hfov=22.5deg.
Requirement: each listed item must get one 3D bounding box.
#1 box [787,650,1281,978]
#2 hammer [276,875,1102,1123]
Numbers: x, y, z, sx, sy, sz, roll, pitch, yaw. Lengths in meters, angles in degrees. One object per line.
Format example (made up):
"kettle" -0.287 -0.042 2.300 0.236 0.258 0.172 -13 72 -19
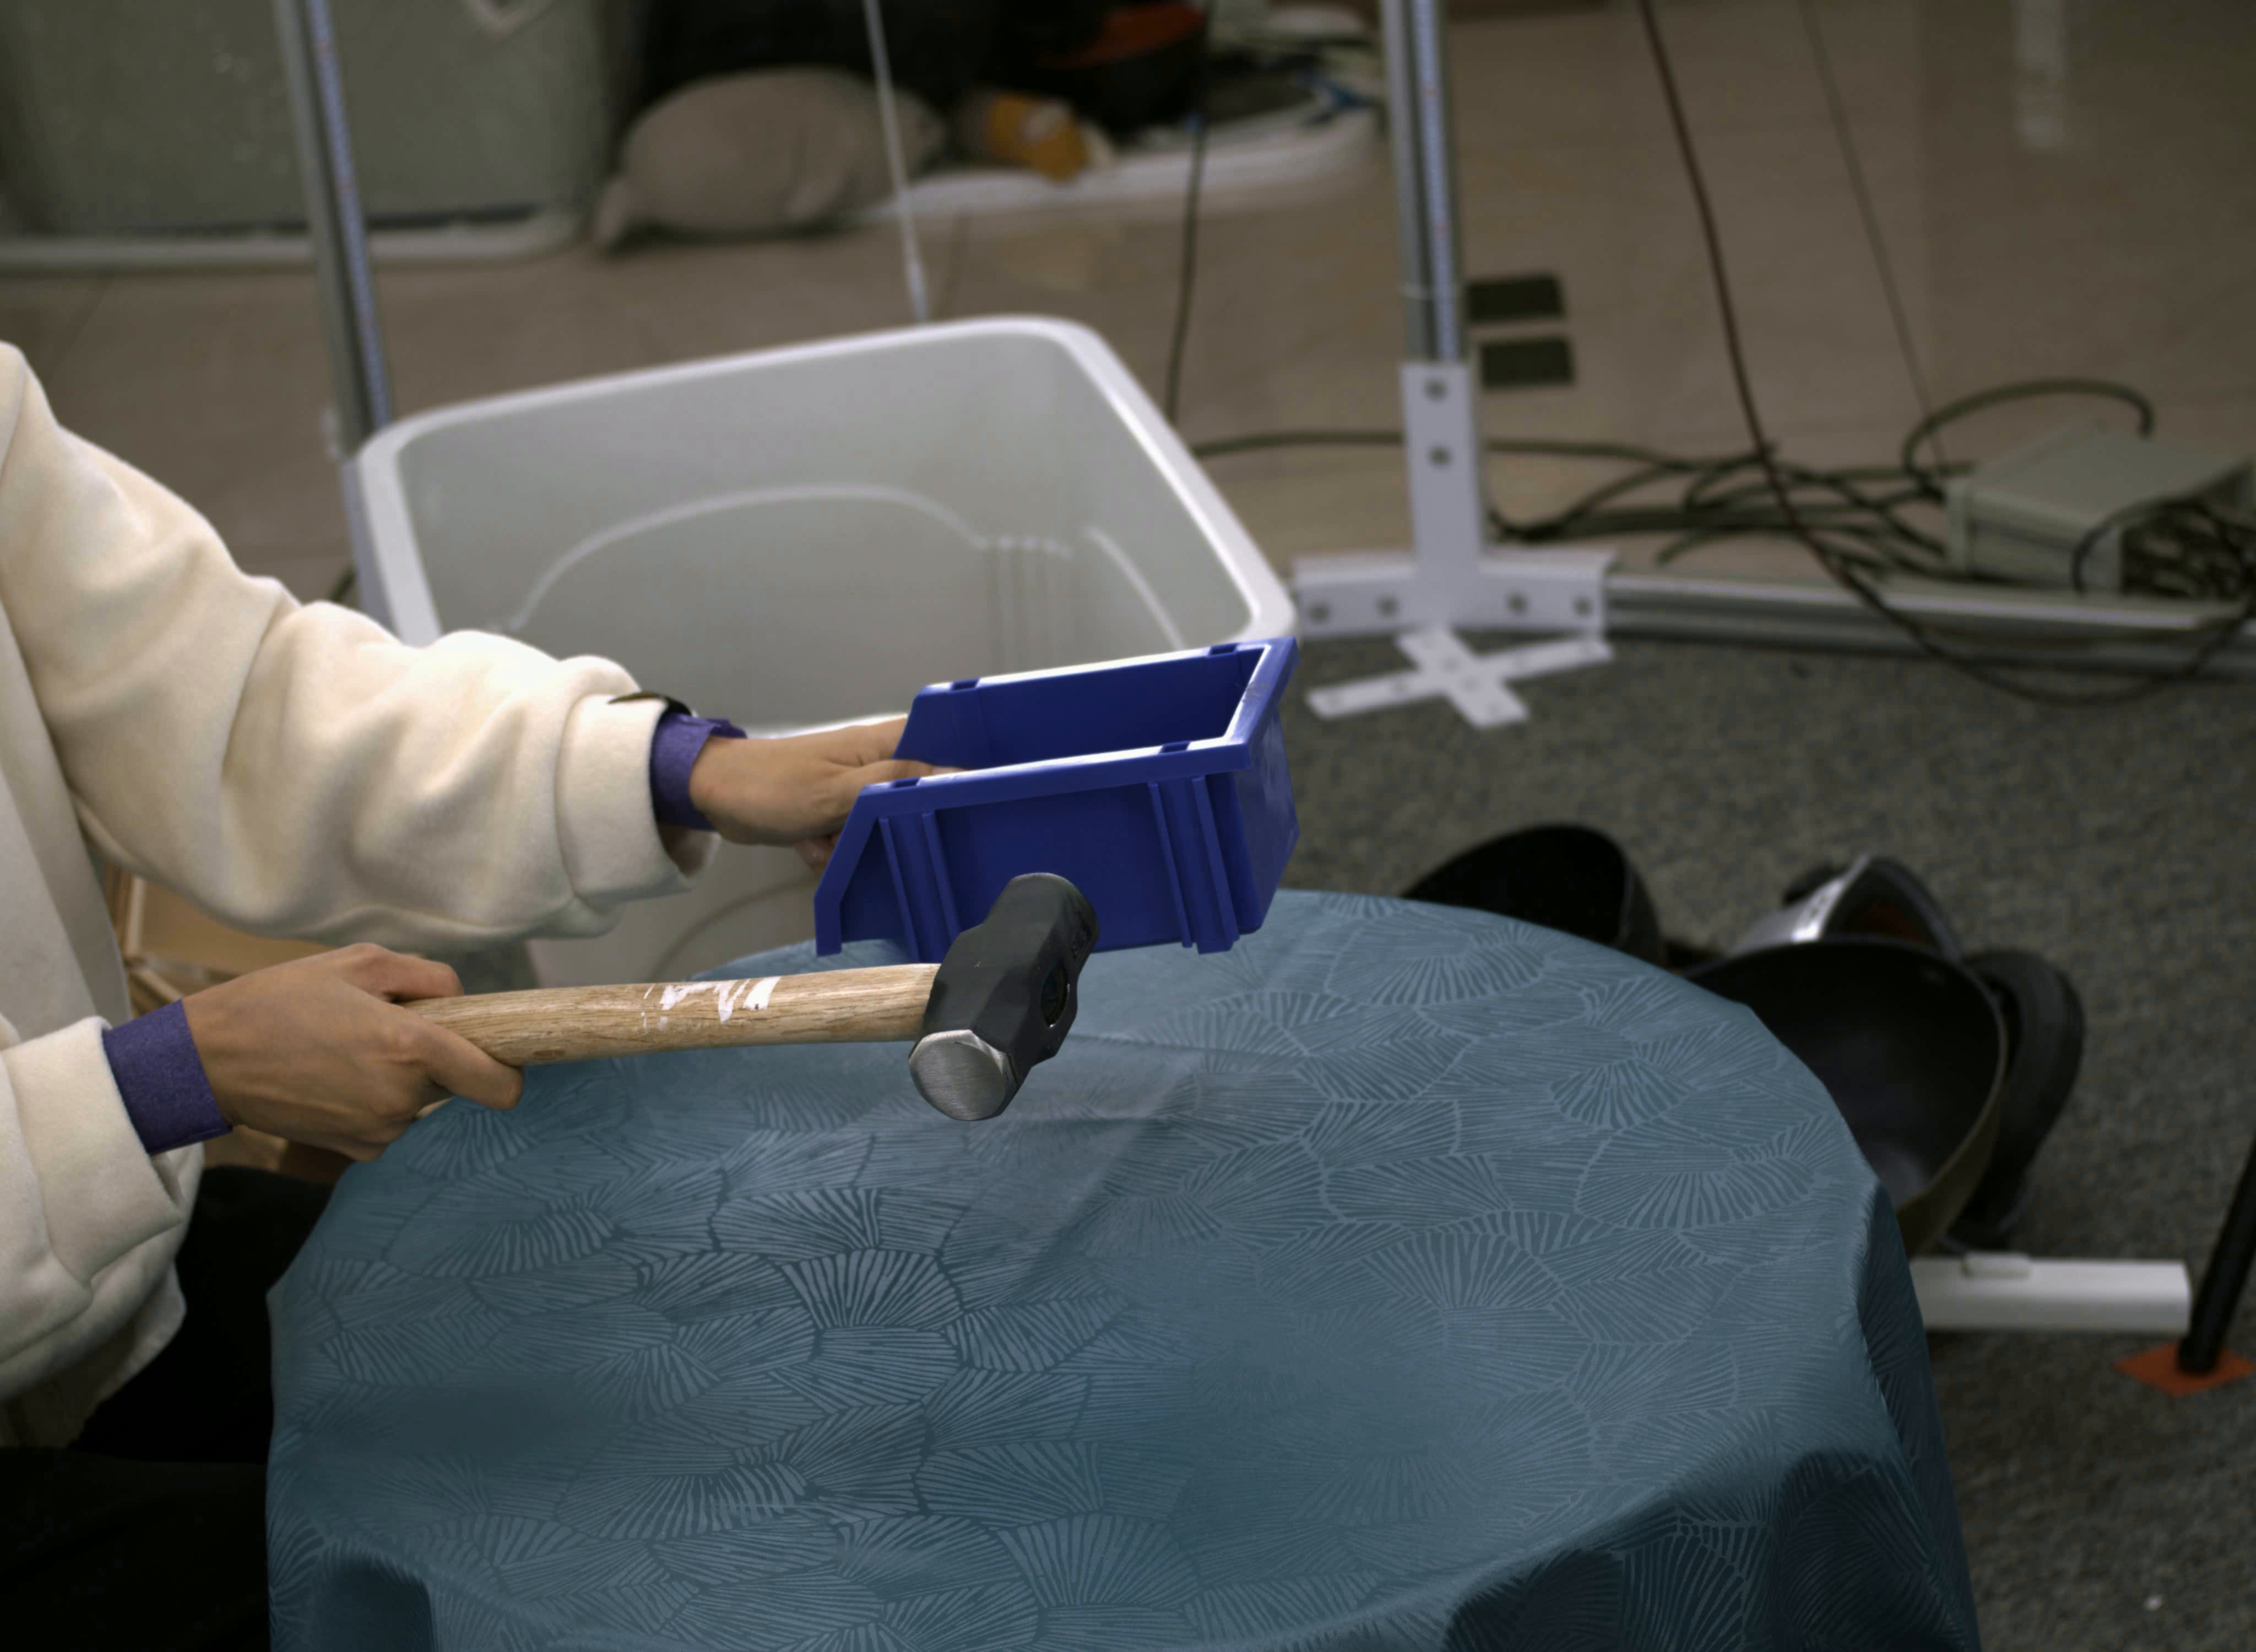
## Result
"box" -0.034 -0.002 2.151 0.179 0.083 0.123 -4 21 14
"hammer" -0.165 0.065 2.016 0.305 0.039 0.105 -3 31 23
